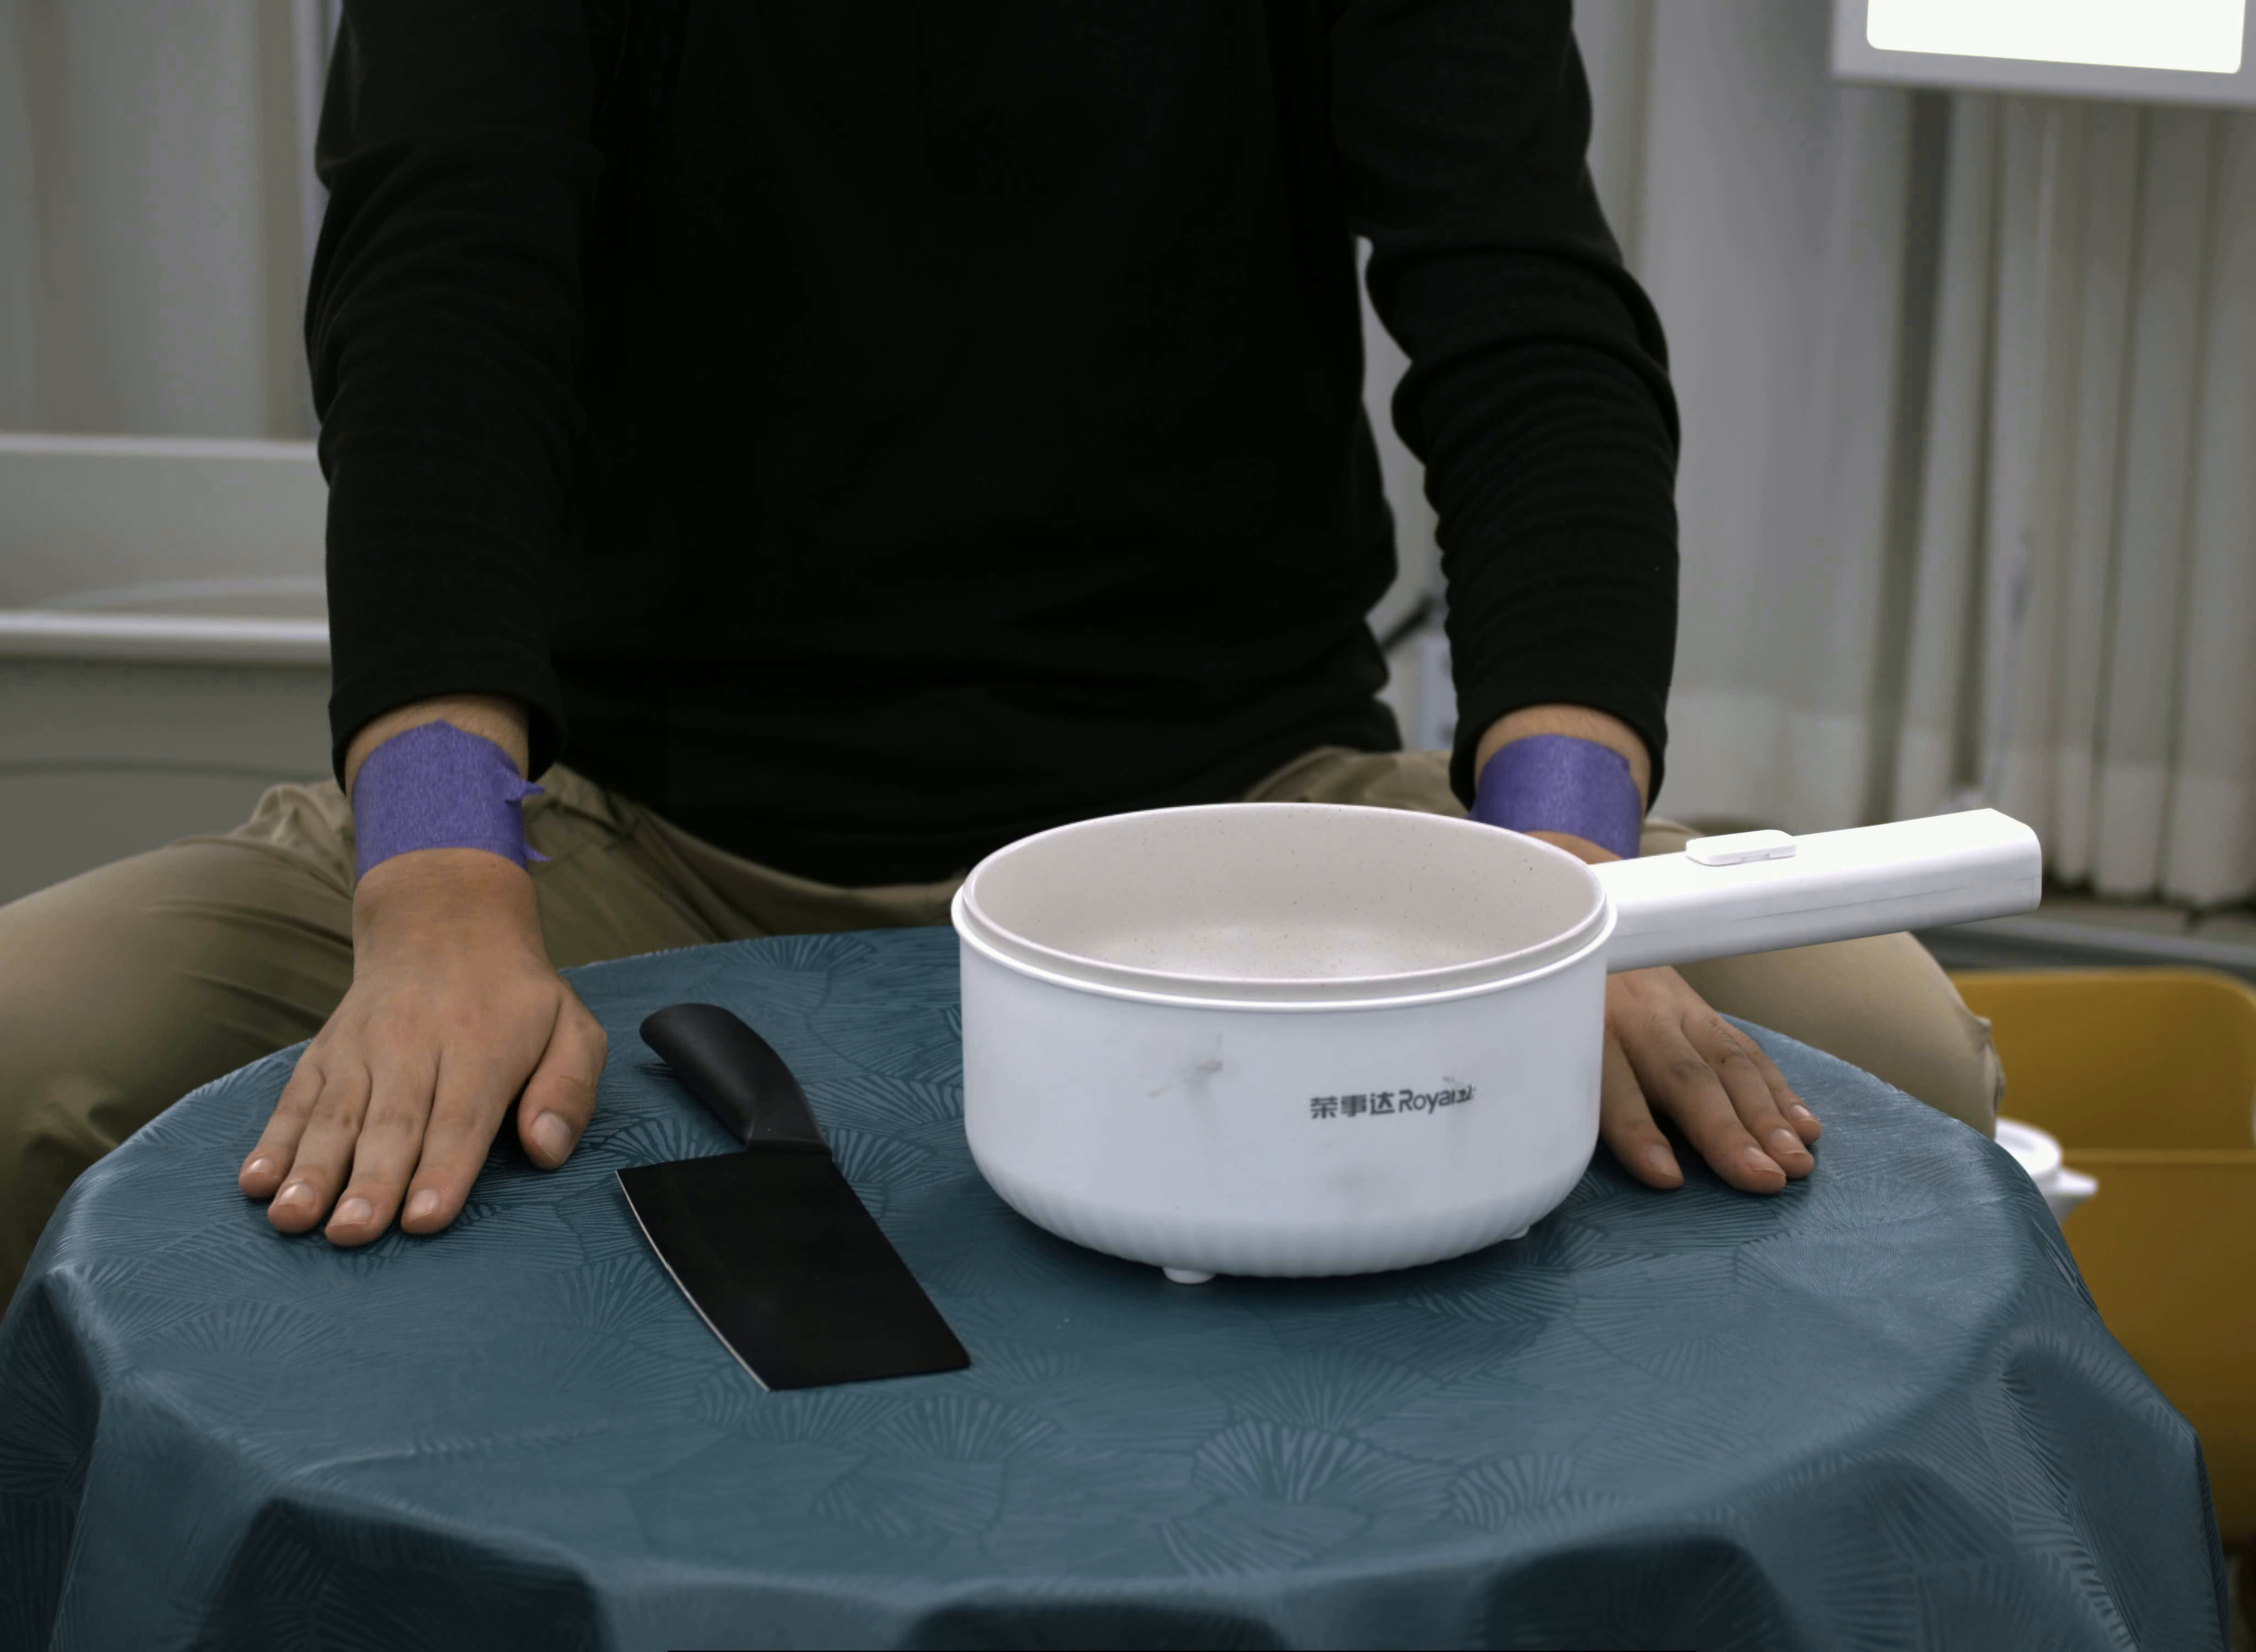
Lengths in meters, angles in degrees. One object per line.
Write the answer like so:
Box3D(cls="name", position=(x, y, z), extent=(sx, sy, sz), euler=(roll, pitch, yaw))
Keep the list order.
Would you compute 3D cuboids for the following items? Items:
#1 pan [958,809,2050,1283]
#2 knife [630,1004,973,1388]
Box3D(cls="pan", position=(0.119, 0.062, 1.629), extent=(0.356, 0.103, 0.199), euler=(-5, 16, -22))
Box3D(cls="knife", position=(-0.112, 0.110, 1.601), extent=(0.081, 0.021, 0.299), euler=(-3, 18, -12))
